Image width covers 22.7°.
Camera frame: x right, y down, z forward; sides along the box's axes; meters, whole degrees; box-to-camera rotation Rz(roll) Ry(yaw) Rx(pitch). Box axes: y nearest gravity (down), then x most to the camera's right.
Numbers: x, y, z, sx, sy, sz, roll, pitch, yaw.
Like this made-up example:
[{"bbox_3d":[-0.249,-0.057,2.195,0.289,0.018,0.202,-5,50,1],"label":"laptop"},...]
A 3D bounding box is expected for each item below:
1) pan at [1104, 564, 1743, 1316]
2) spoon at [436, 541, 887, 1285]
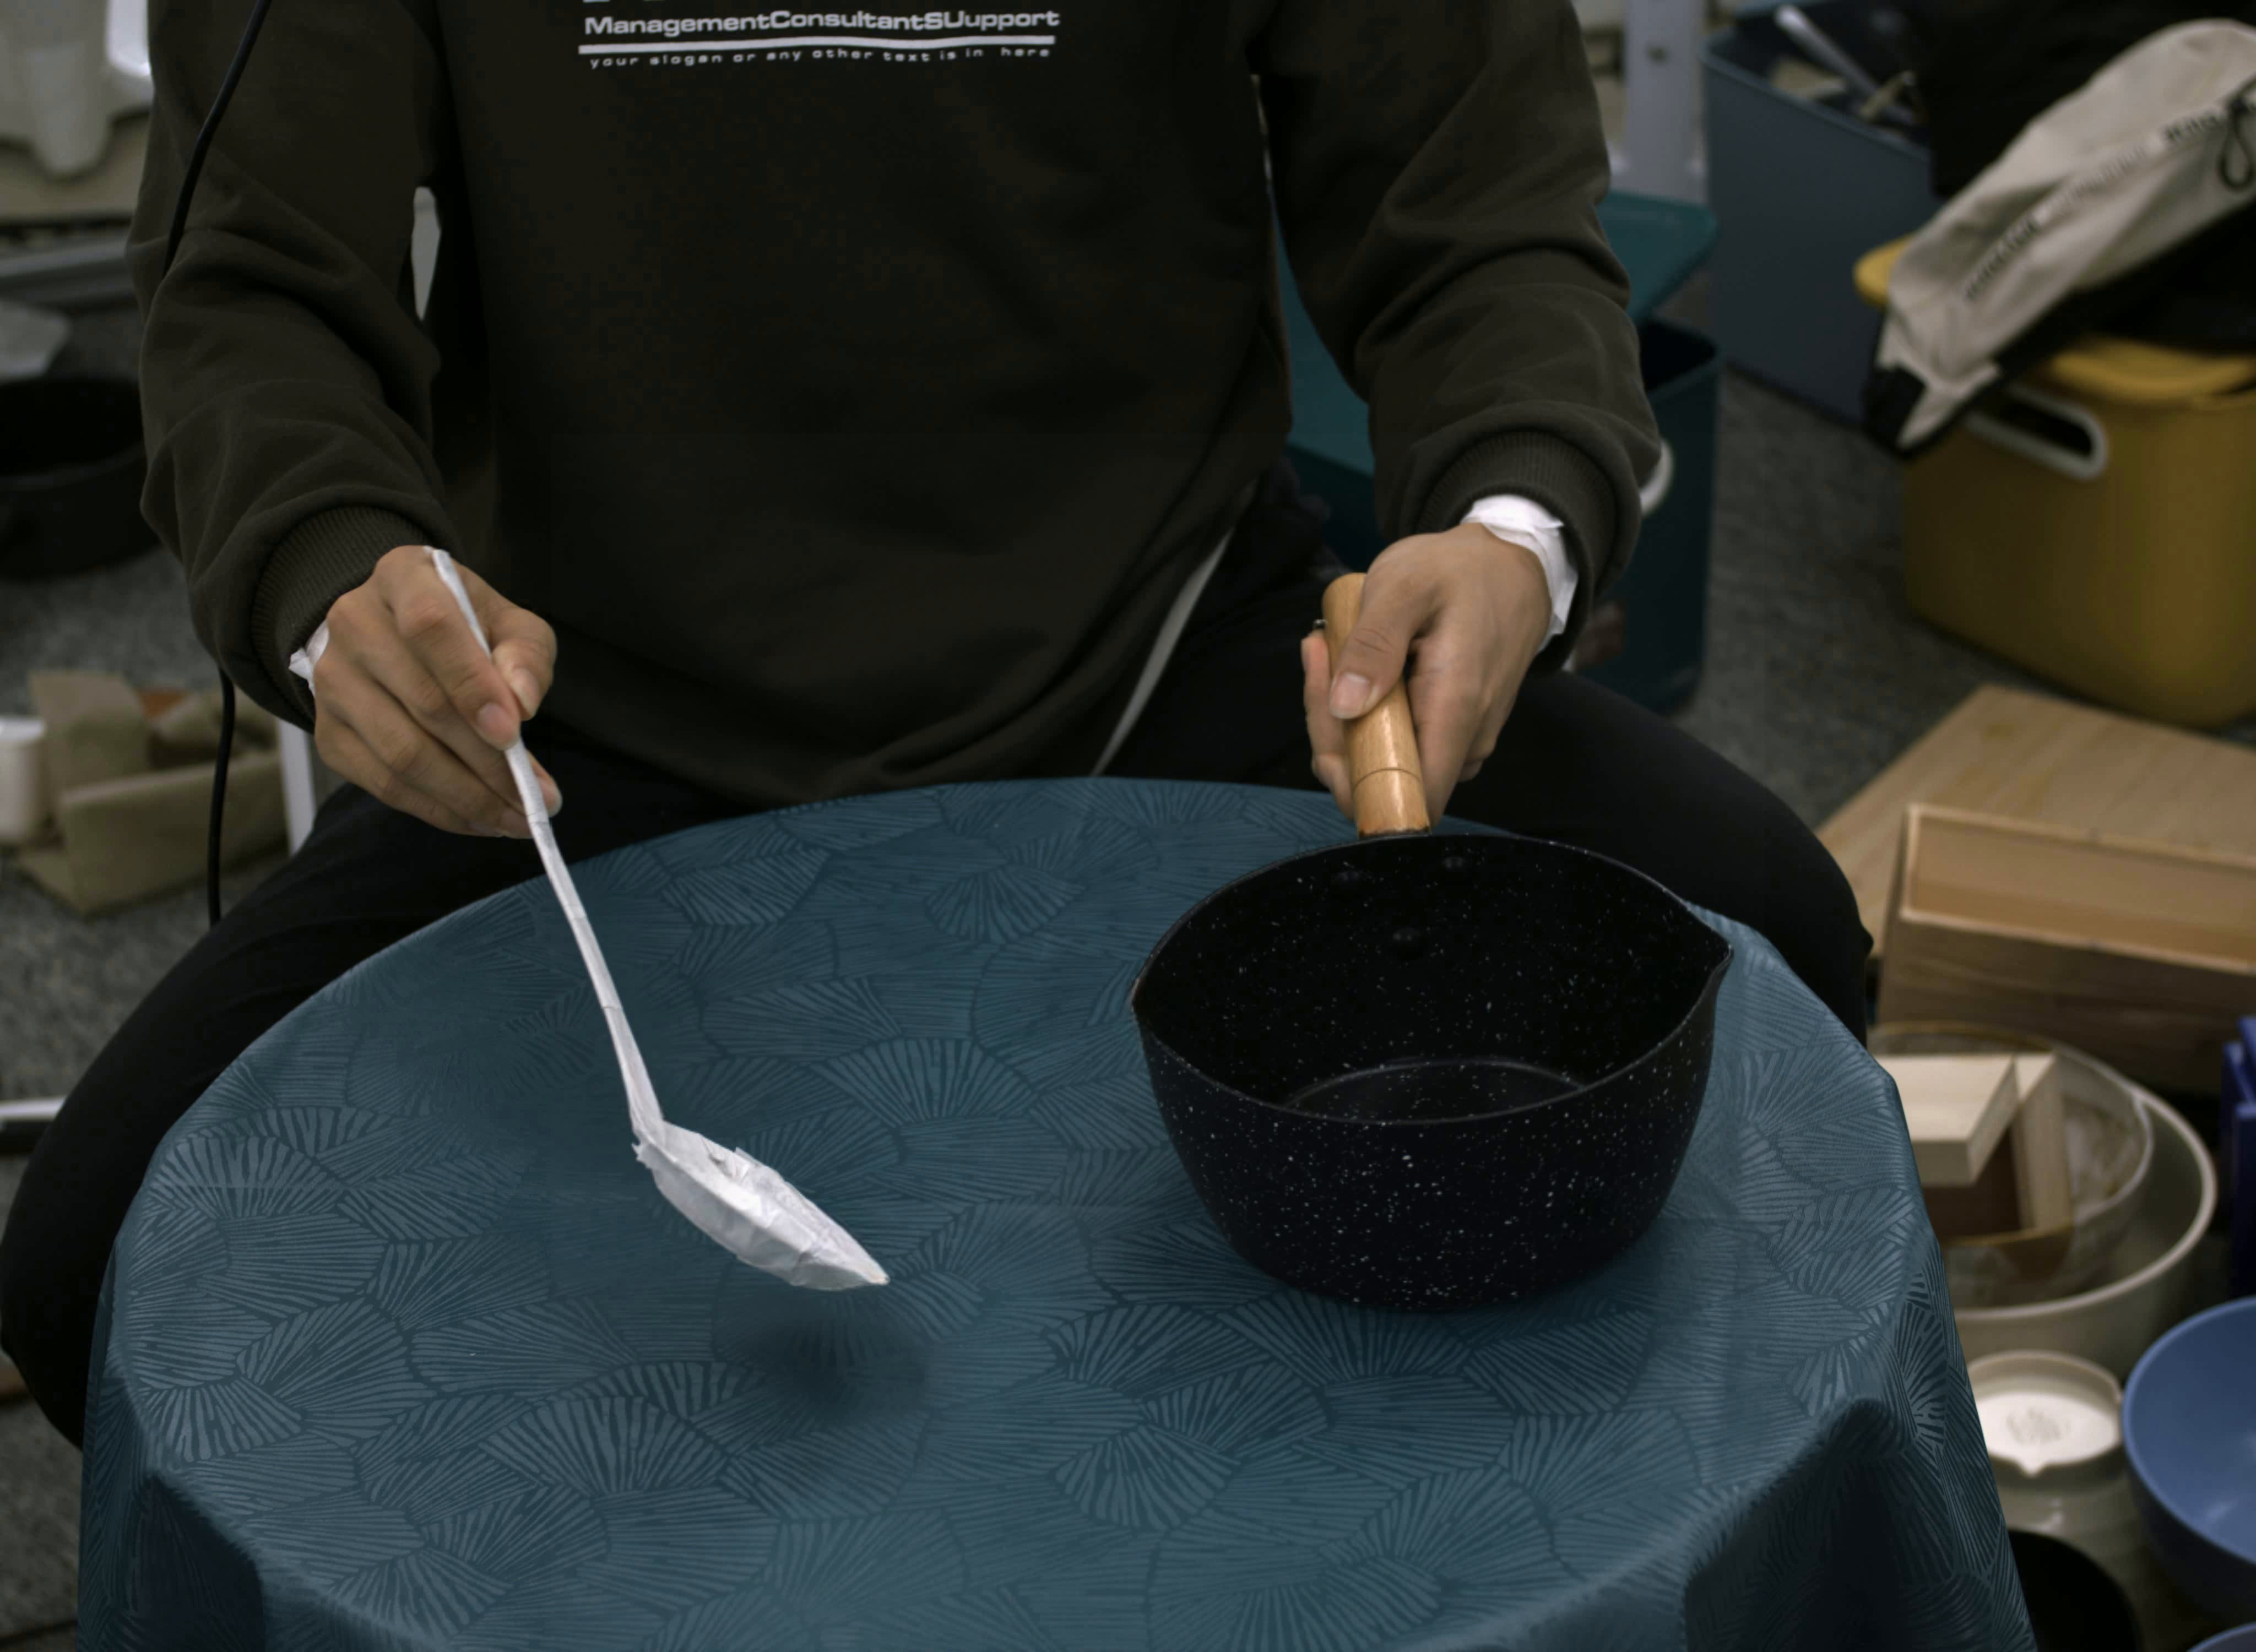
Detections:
[{"bbox_3d":[0.093,0.035,1.897,0.206,0.107,0.348,-7,29,-1],"label":"pan"},{"bbox_3d":[-0.149,0.026,1.782,0.059,0.280,0.100,-24,-16,10],"label":"spoon"}]
